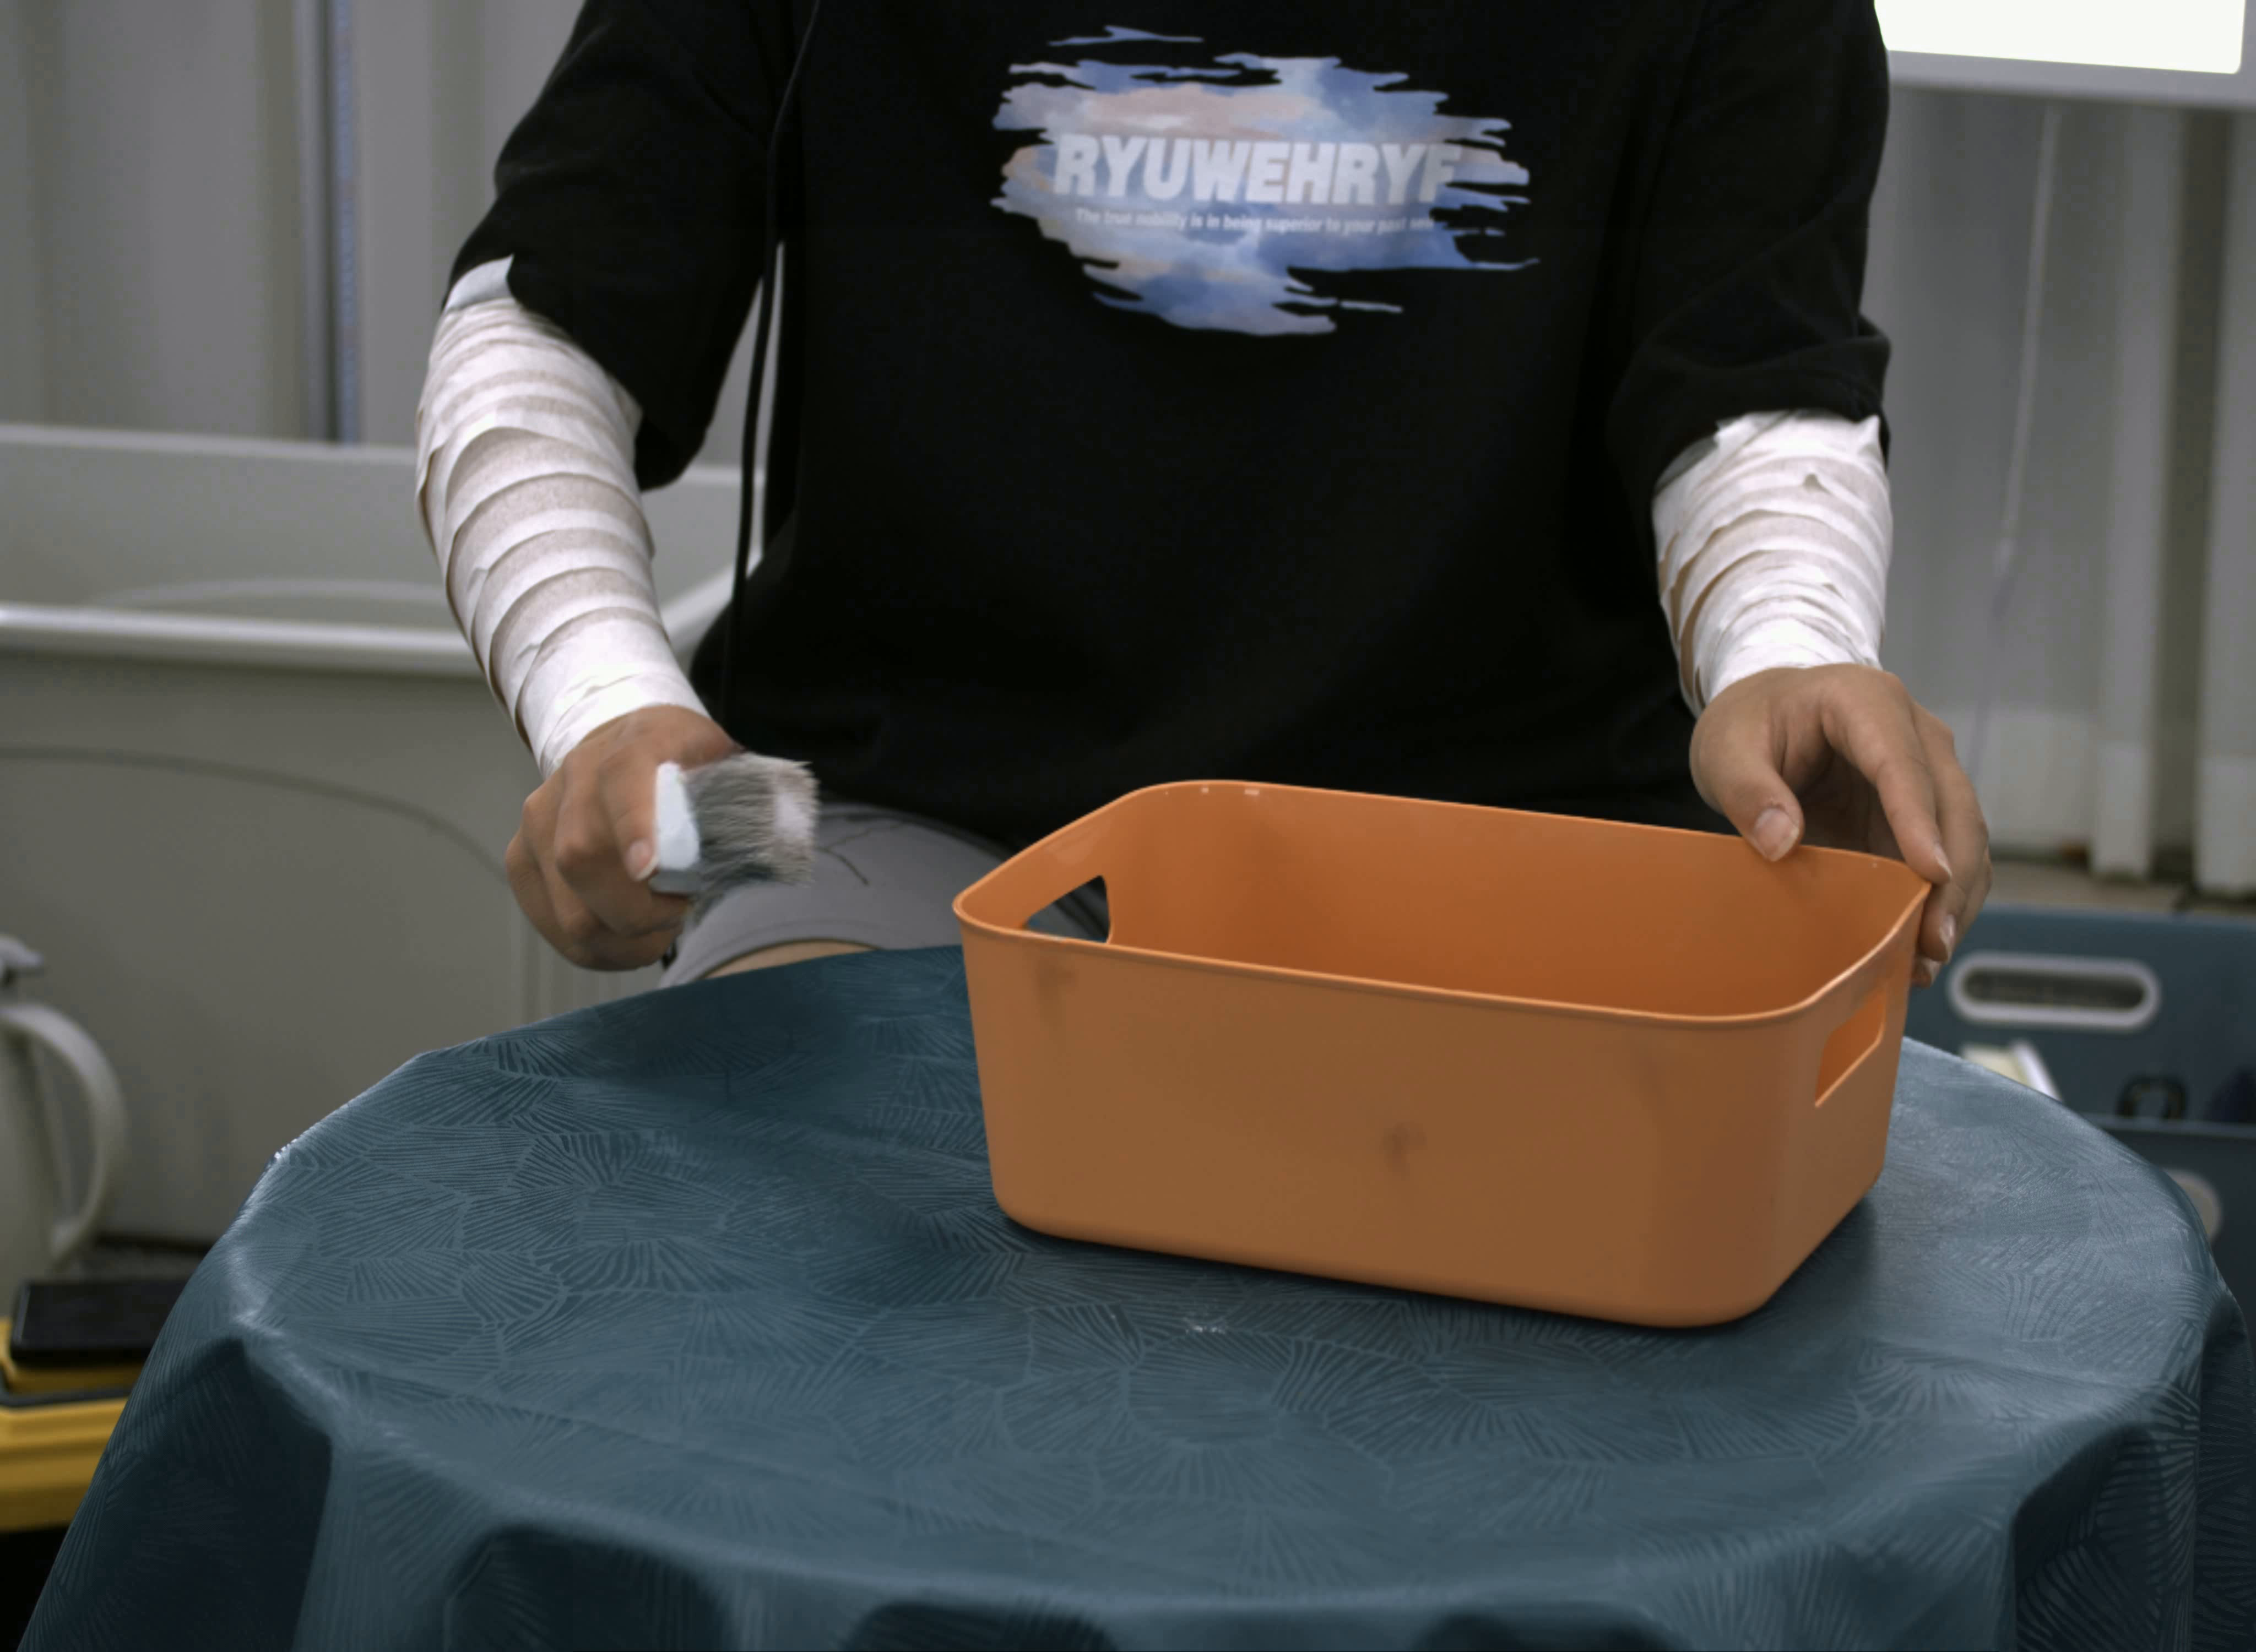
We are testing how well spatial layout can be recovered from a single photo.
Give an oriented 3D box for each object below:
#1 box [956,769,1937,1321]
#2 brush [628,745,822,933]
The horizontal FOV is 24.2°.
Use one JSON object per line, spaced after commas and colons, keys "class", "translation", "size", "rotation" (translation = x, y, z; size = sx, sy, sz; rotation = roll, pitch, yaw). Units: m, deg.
{"class": "box", "translation": [0.097, 0.064, 1.601], "size": [0.270, 0.103, 0.199], "rotation": [7, 18, 21]}
{"class": "brush", "translation": [-0.127, 0.009, 1.653], "size": [0.050, 0.034, 0.243], "rotation": [5, -9, -8]}
